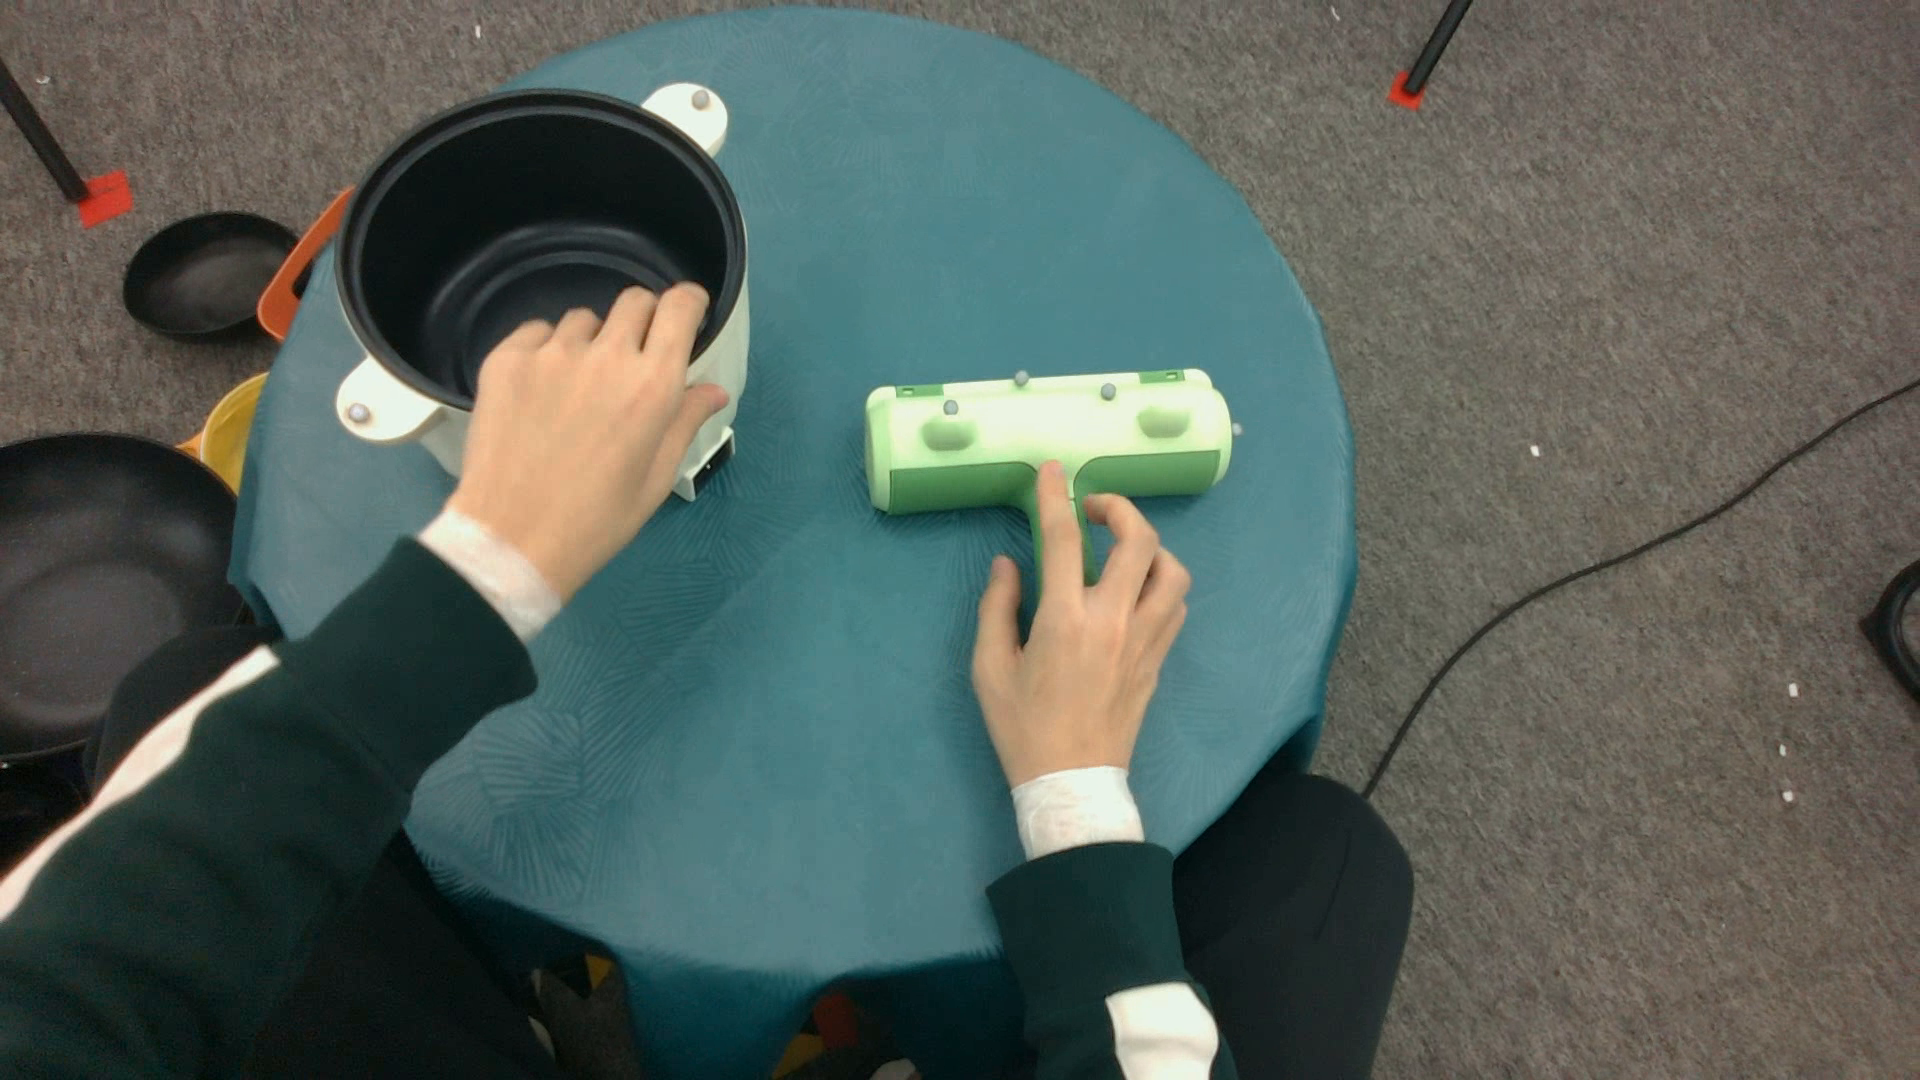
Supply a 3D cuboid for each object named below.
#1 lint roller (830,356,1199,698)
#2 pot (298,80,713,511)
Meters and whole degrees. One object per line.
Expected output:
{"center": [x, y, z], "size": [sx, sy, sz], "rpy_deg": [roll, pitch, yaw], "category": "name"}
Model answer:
{"center": [0.039, -0.015, 0.713], "size": [0.199, 0.082, 0.184], "rpy_deg": [-5, 61, -11], "category": "lint roller"}
{"center": [-0.219, -0.111, 0.686], "size": [0.190, 0.142, 0.241], "rpy_deg": [33, 64, 4], "category": "pot"}
